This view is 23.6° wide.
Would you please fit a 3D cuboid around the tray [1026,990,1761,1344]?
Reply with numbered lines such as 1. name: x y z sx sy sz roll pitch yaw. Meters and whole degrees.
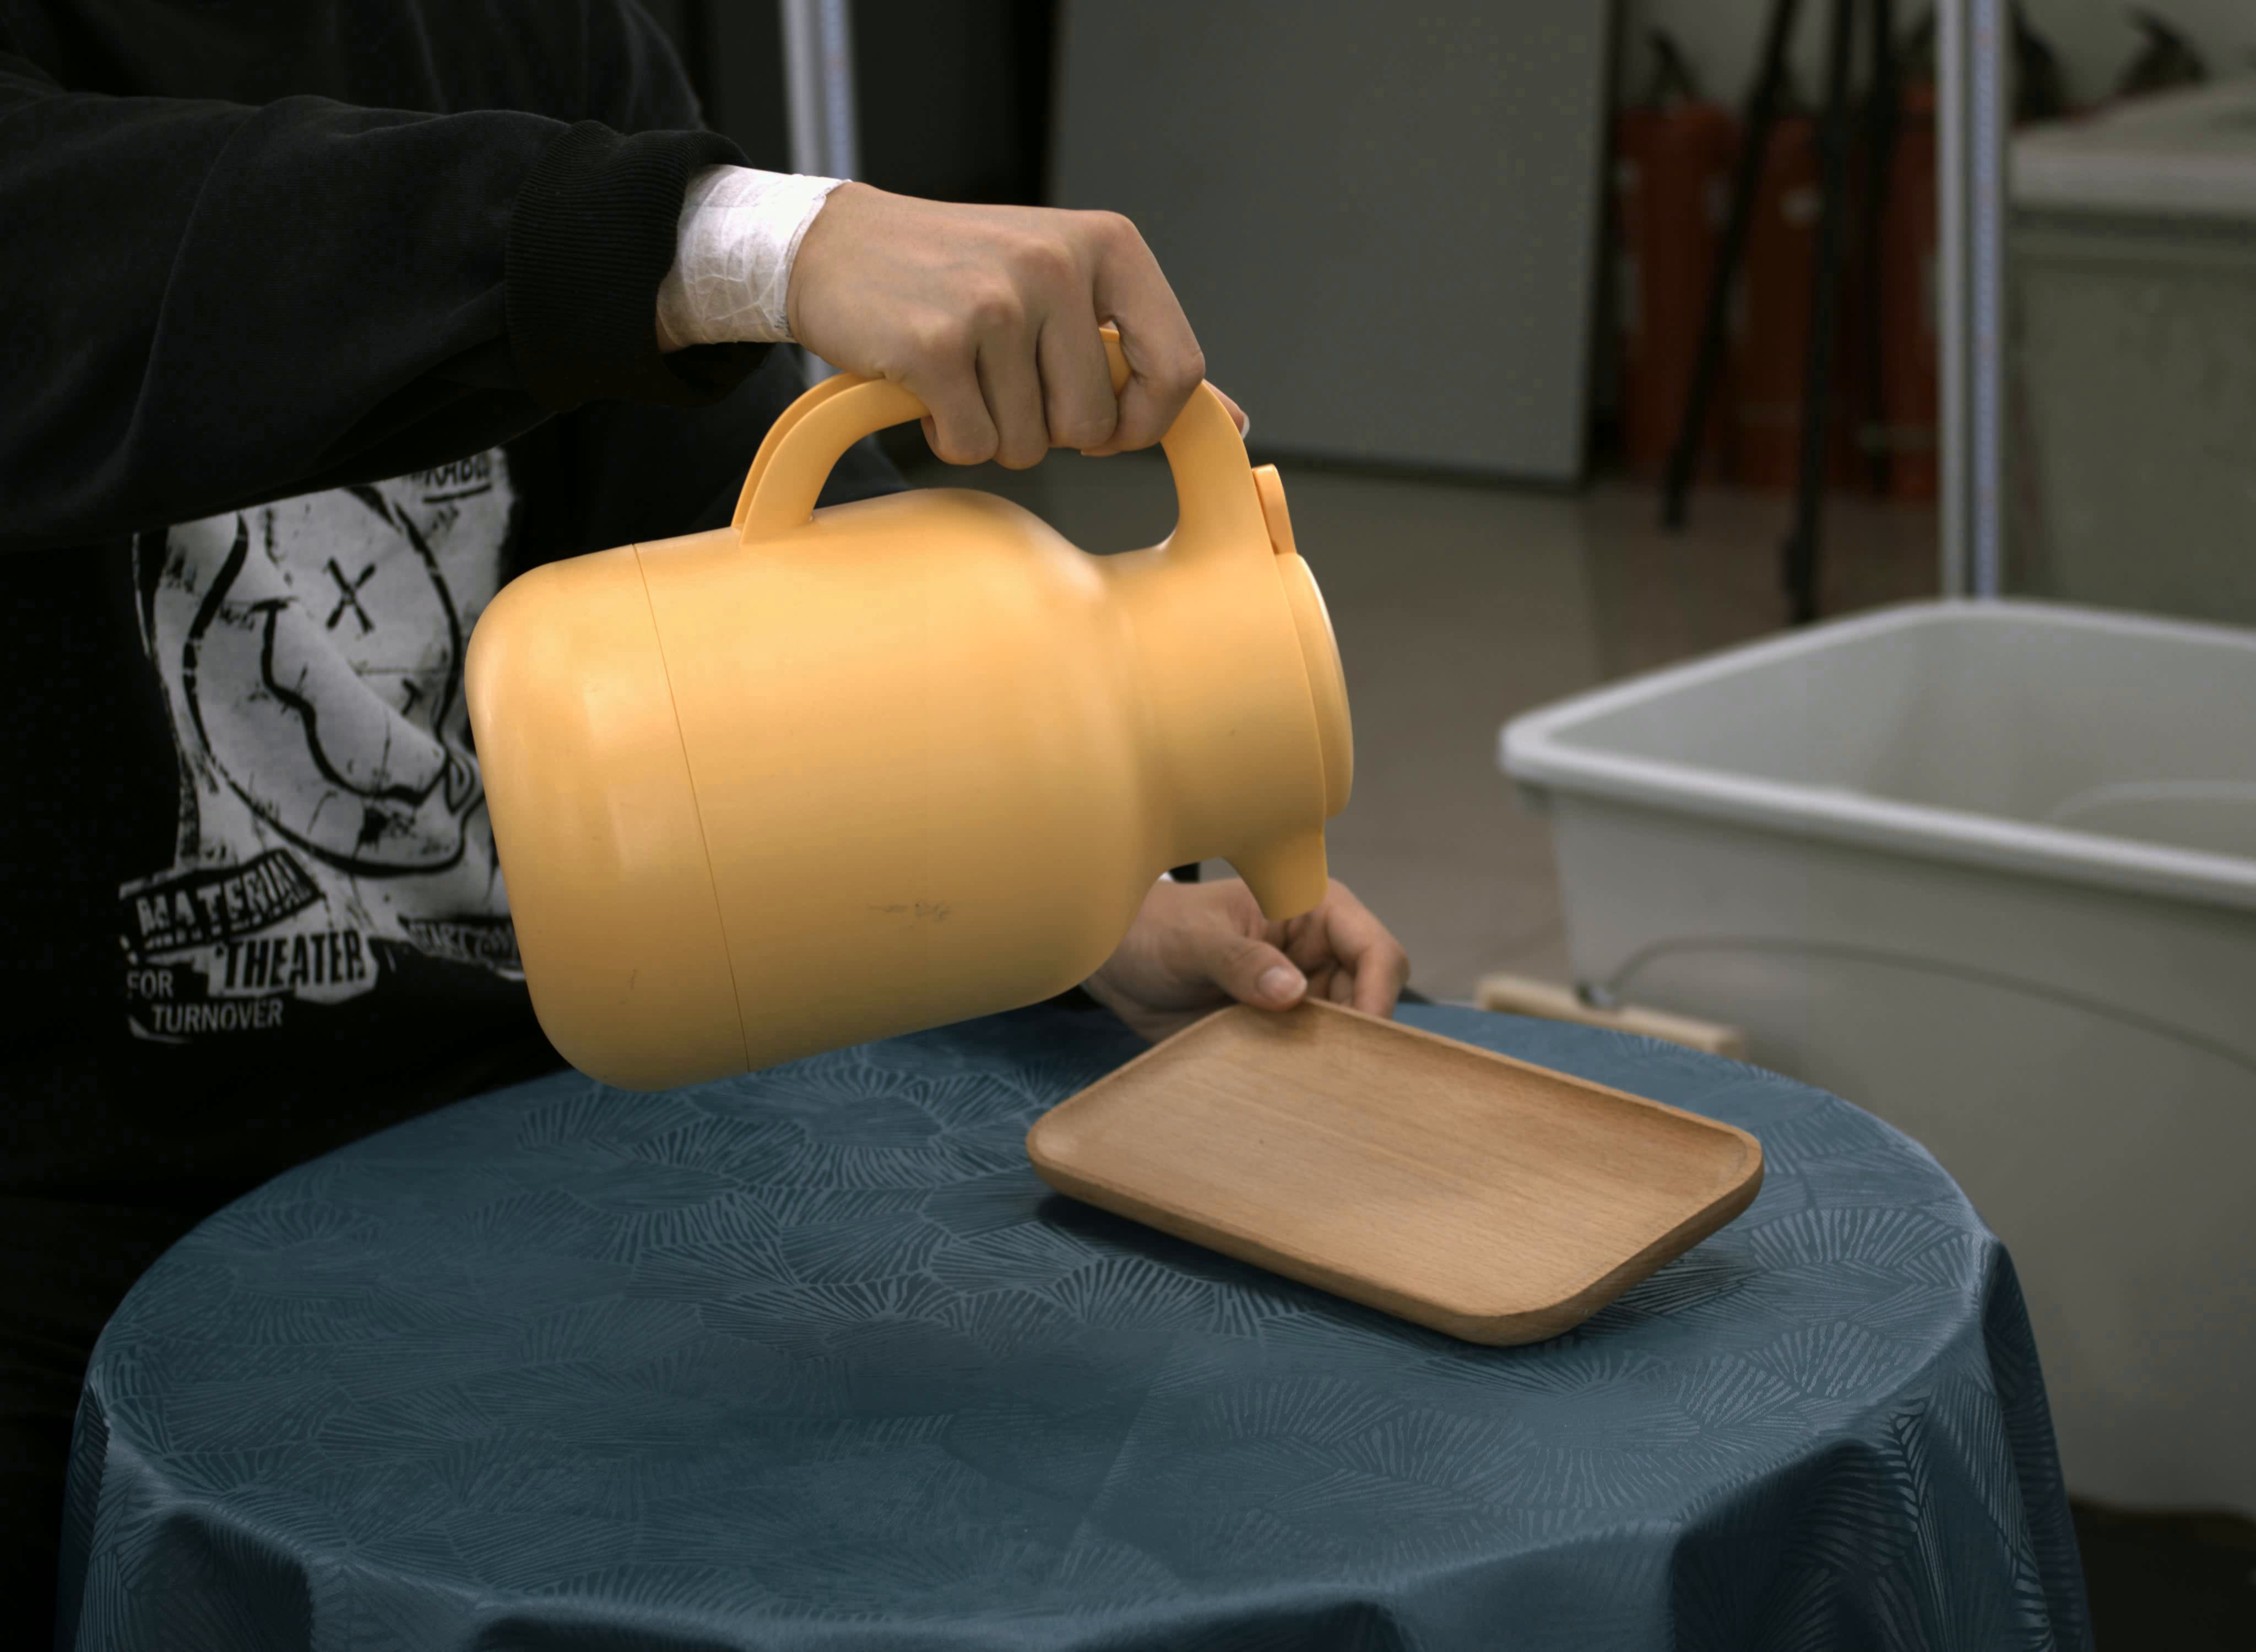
1. tray: 0.081 0.106 1.711 0.128 0.023 0.253 -26 25 -31

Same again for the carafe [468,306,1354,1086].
1. carafe: -0.066 -0.043 1.617 0.256 0.204 0.164 -13 13 -7
